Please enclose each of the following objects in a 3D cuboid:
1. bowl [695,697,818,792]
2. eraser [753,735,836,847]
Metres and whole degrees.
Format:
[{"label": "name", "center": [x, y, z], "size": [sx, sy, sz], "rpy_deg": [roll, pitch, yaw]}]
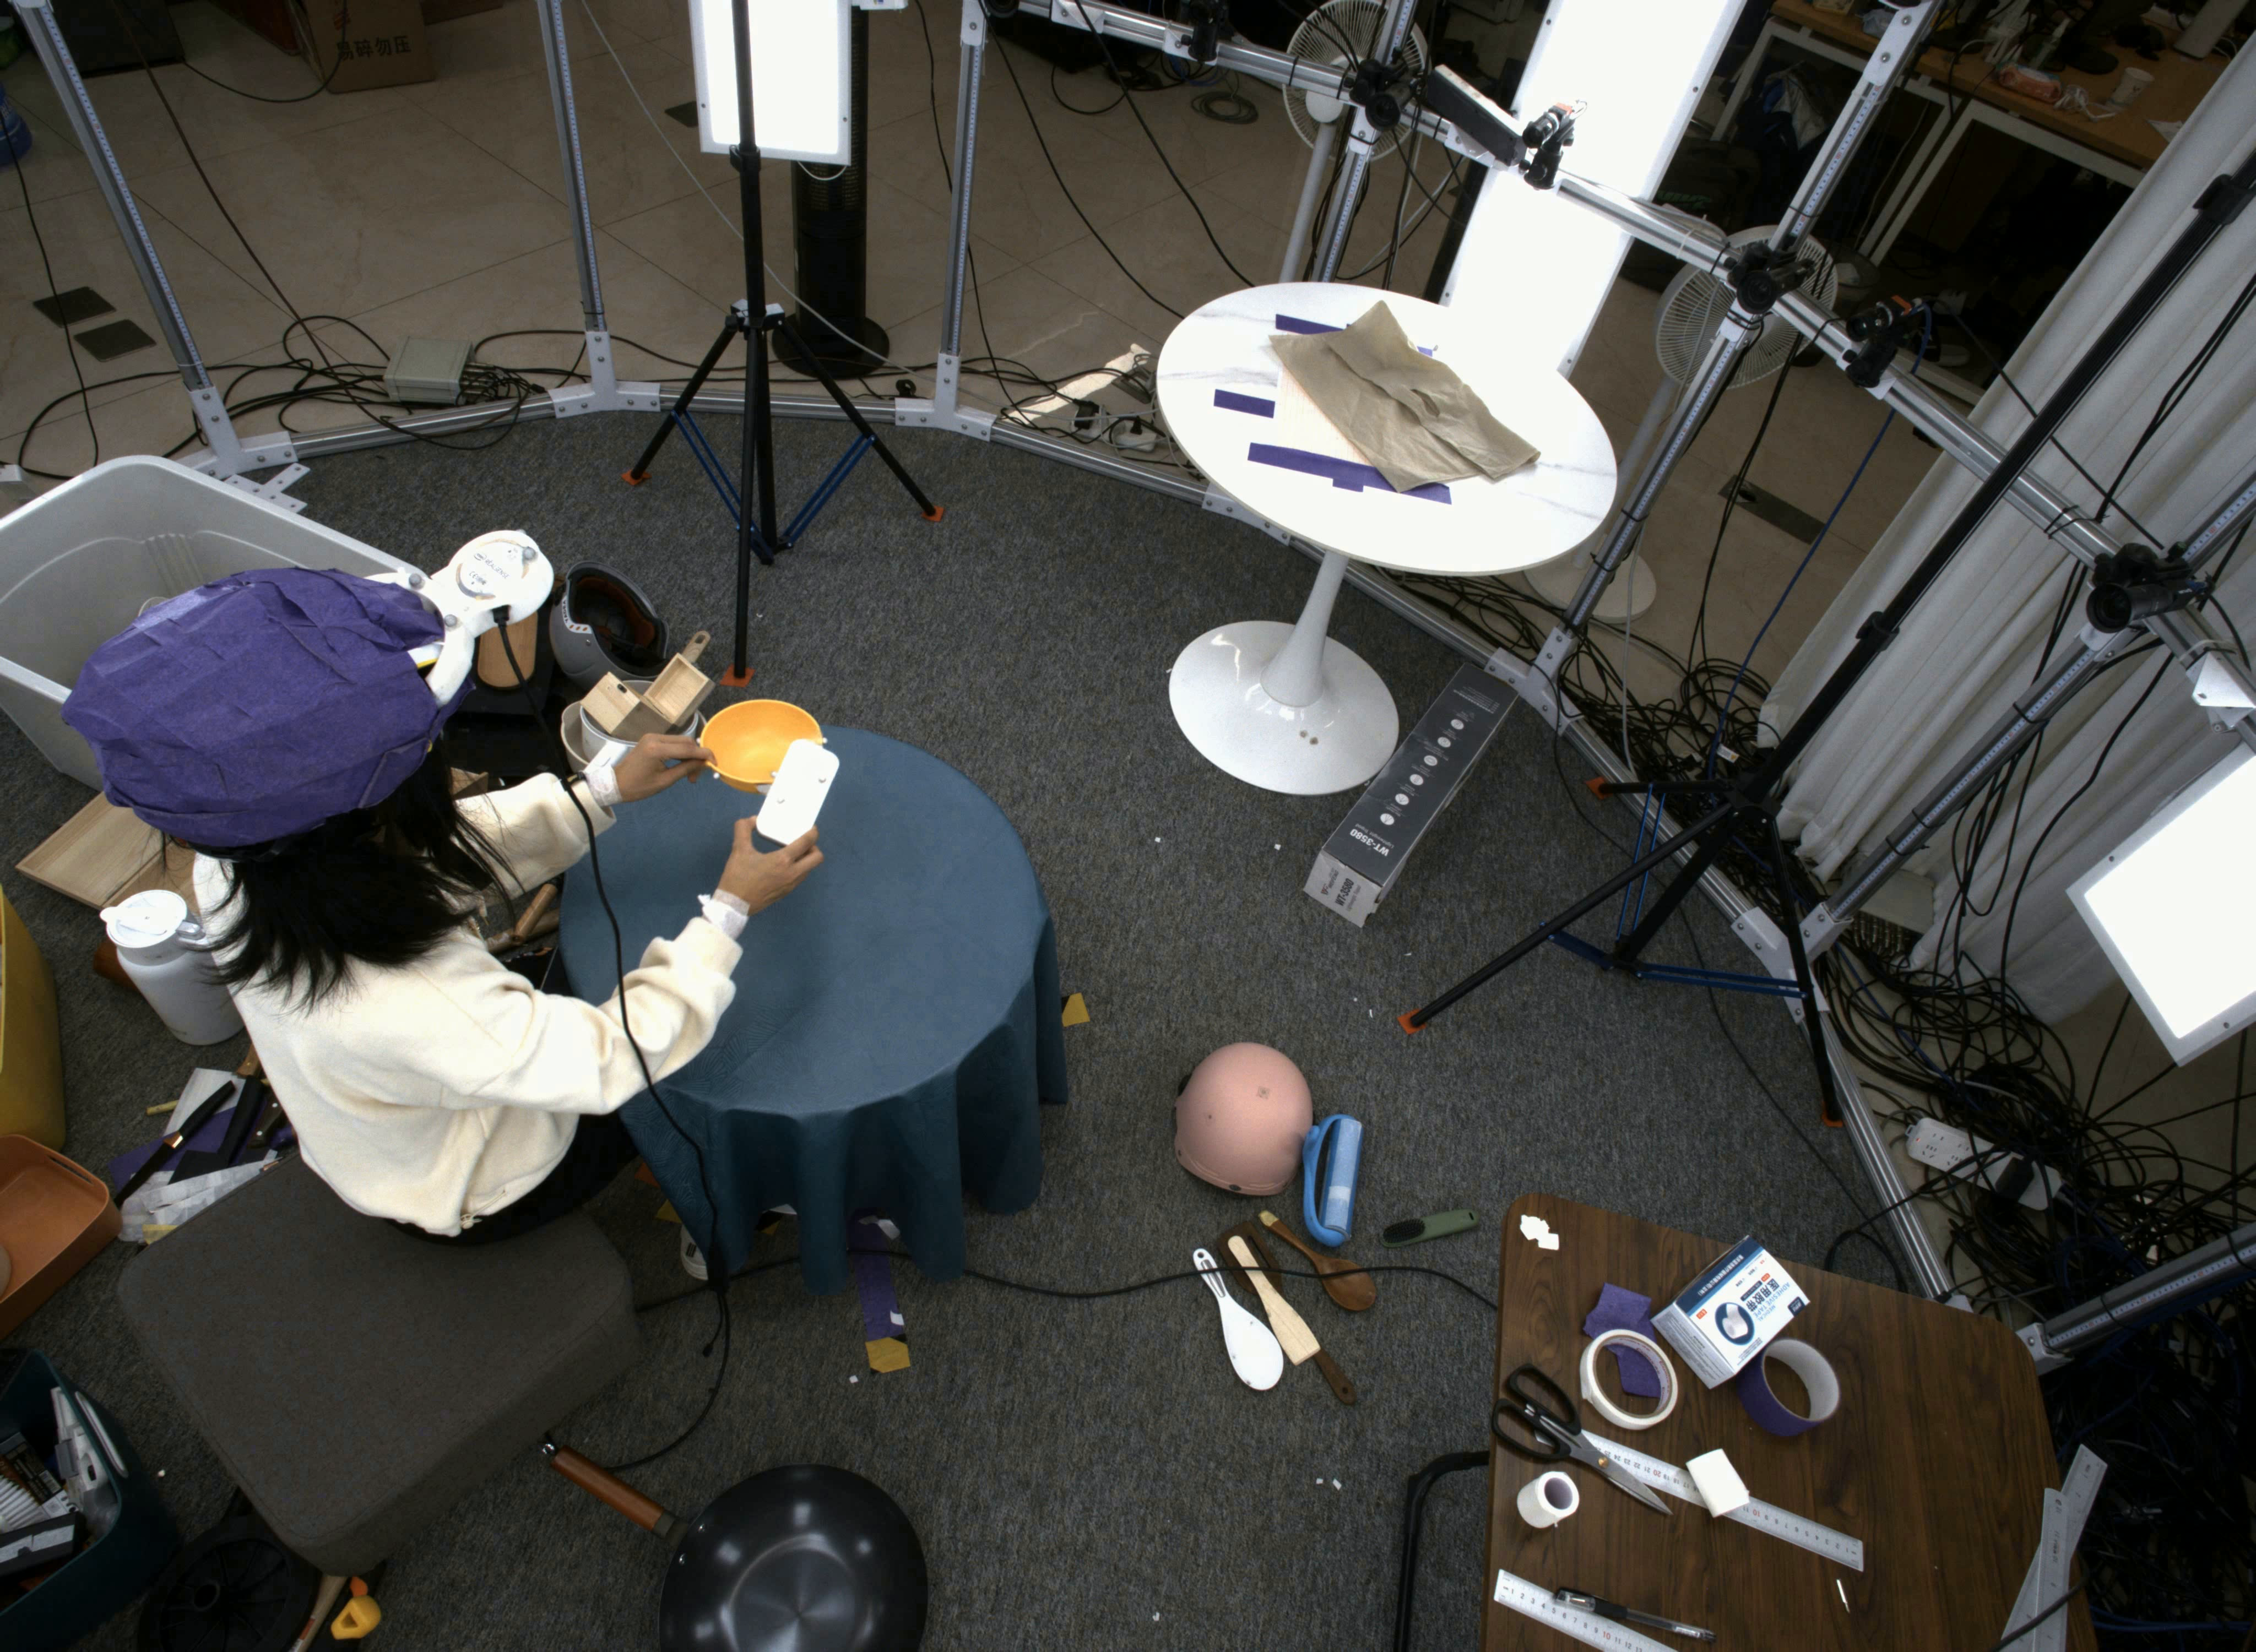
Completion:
[{"label": "bowl", "center": [-0.451, -0.088, 1.573], "size": [0.145, 0.061, 0.142], "rpy_deg": [9, 46, -7]}, {"label": "eraser", "center": [-0.389, -0.043, 1.504], "size": [0.064, 0.034, 0.130], "rpy_deg": [26, 61, -17]}]
